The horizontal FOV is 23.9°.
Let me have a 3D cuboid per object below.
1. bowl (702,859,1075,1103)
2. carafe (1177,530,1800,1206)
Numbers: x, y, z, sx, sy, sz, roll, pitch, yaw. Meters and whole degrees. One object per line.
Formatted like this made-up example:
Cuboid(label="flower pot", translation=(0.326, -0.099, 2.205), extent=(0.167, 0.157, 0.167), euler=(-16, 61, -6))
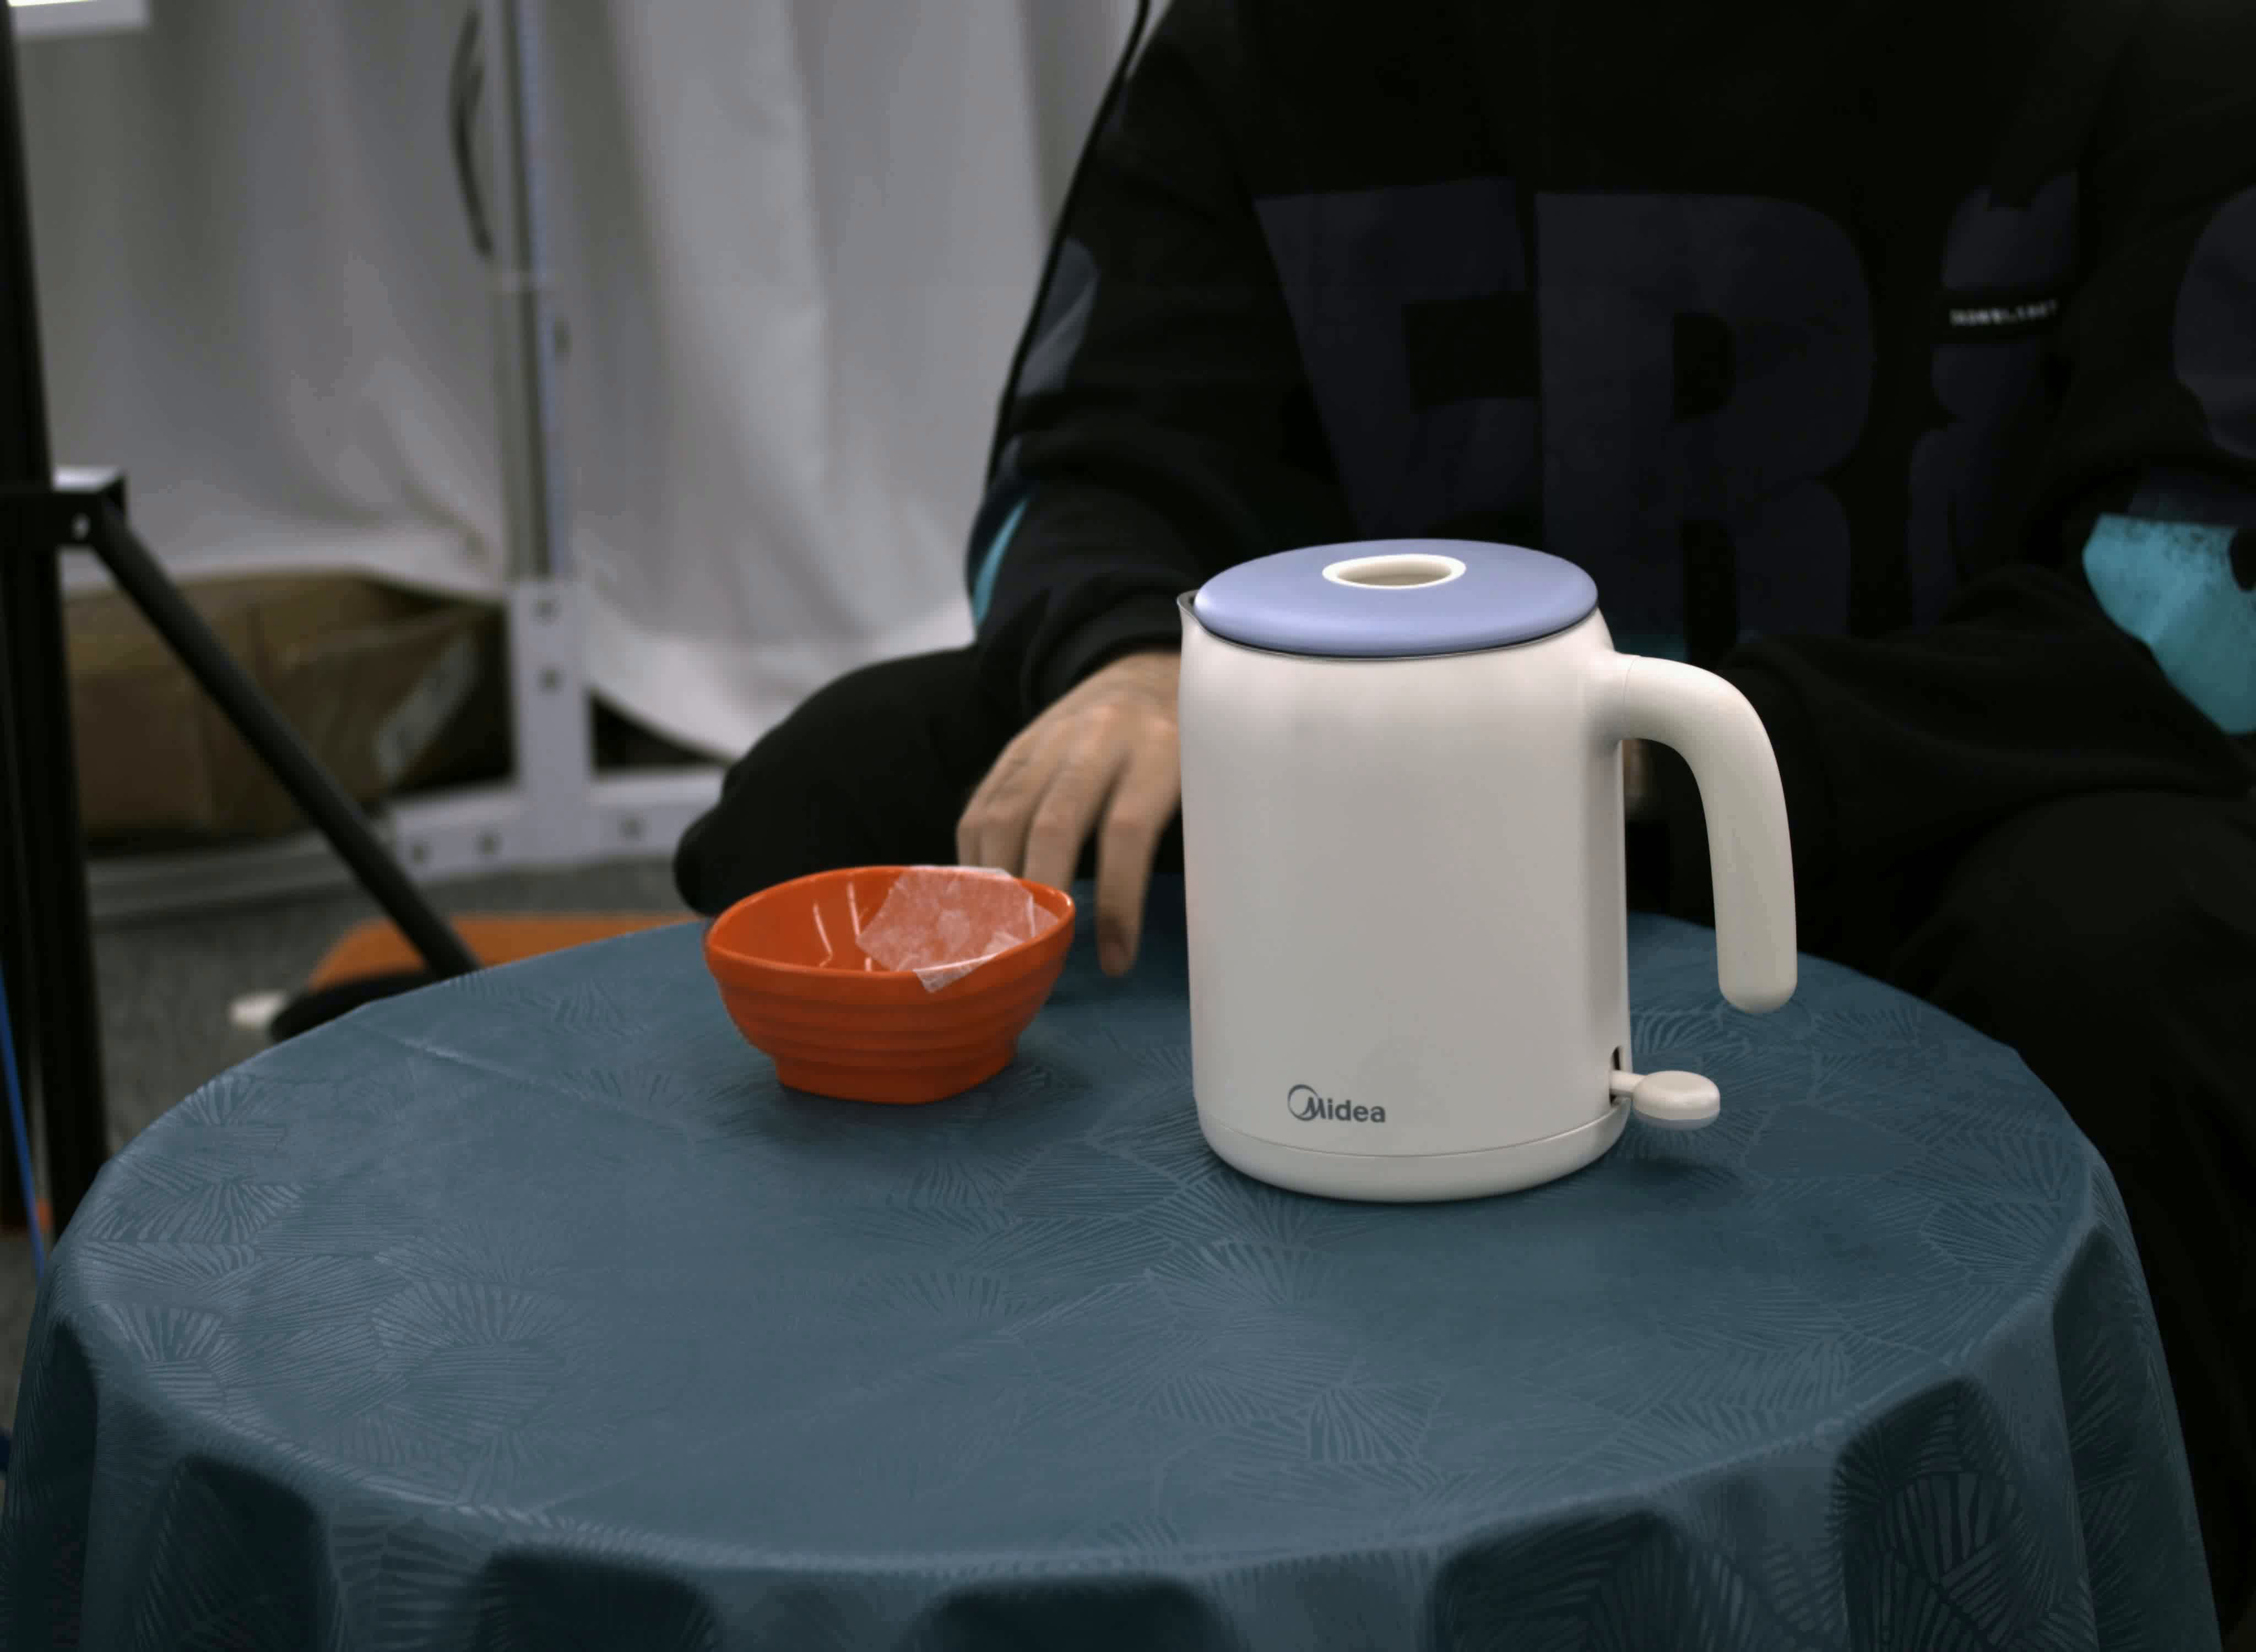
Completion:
Cuboid(label="bowl", translation=(-0.073, 0.051, 1.673), extent=(0.118, 0.051, 0.119), euler=(-6, 17, 0))
Cuboid(label="carafe", translation=(0.105, 0.014, 1.561), extent=(0.193, 0.182, 0.130), euler=(6, 19, 22))
